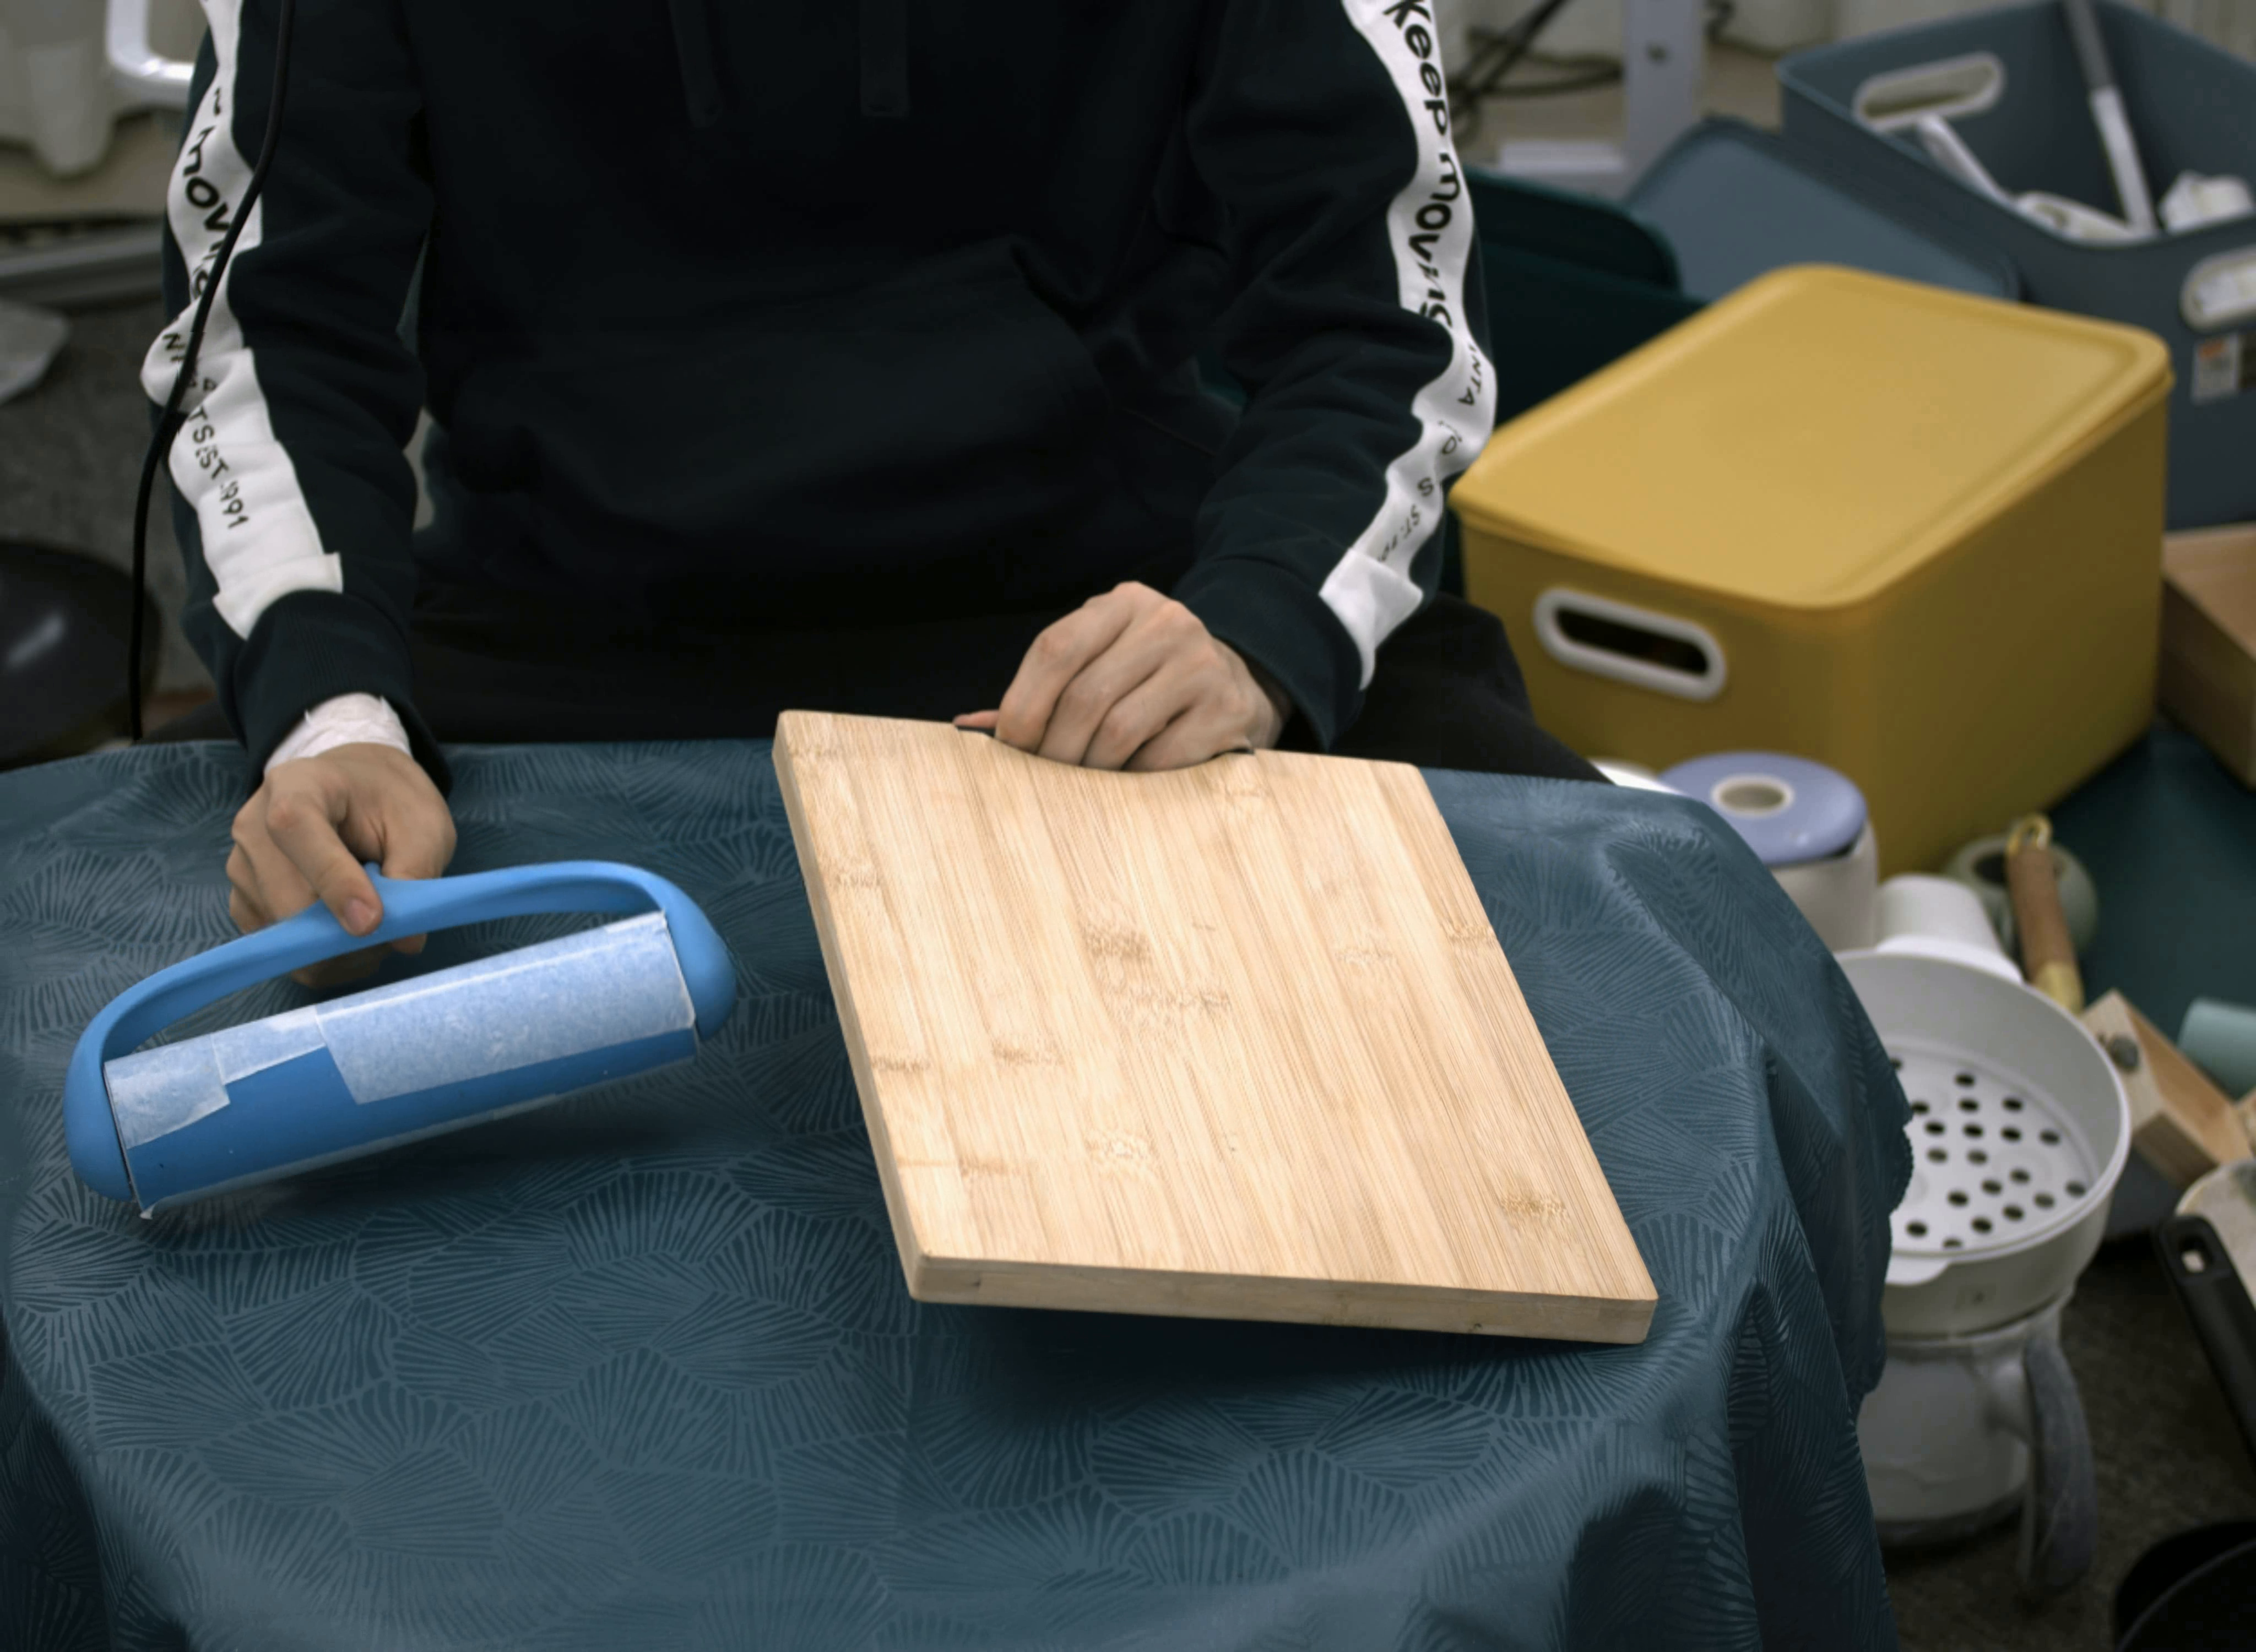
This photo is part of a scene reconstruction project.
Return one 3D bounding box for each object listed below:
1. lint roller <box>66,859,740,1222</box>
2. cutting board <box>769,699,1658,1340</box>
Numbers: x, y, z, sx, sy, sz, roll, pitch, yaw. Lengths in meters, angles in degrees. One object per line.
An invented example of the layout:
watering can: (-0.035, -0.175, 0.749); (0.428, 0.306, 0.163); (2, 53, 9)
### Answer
lint roller: (-0.259, 0.052, 1.923); (0.229, 0.067, 0.182); (-18, 31, -11)
cutting board: (0.019, 0.059, 1.880); (0.250, 0.023, 0.353); (5, 29, -16)
